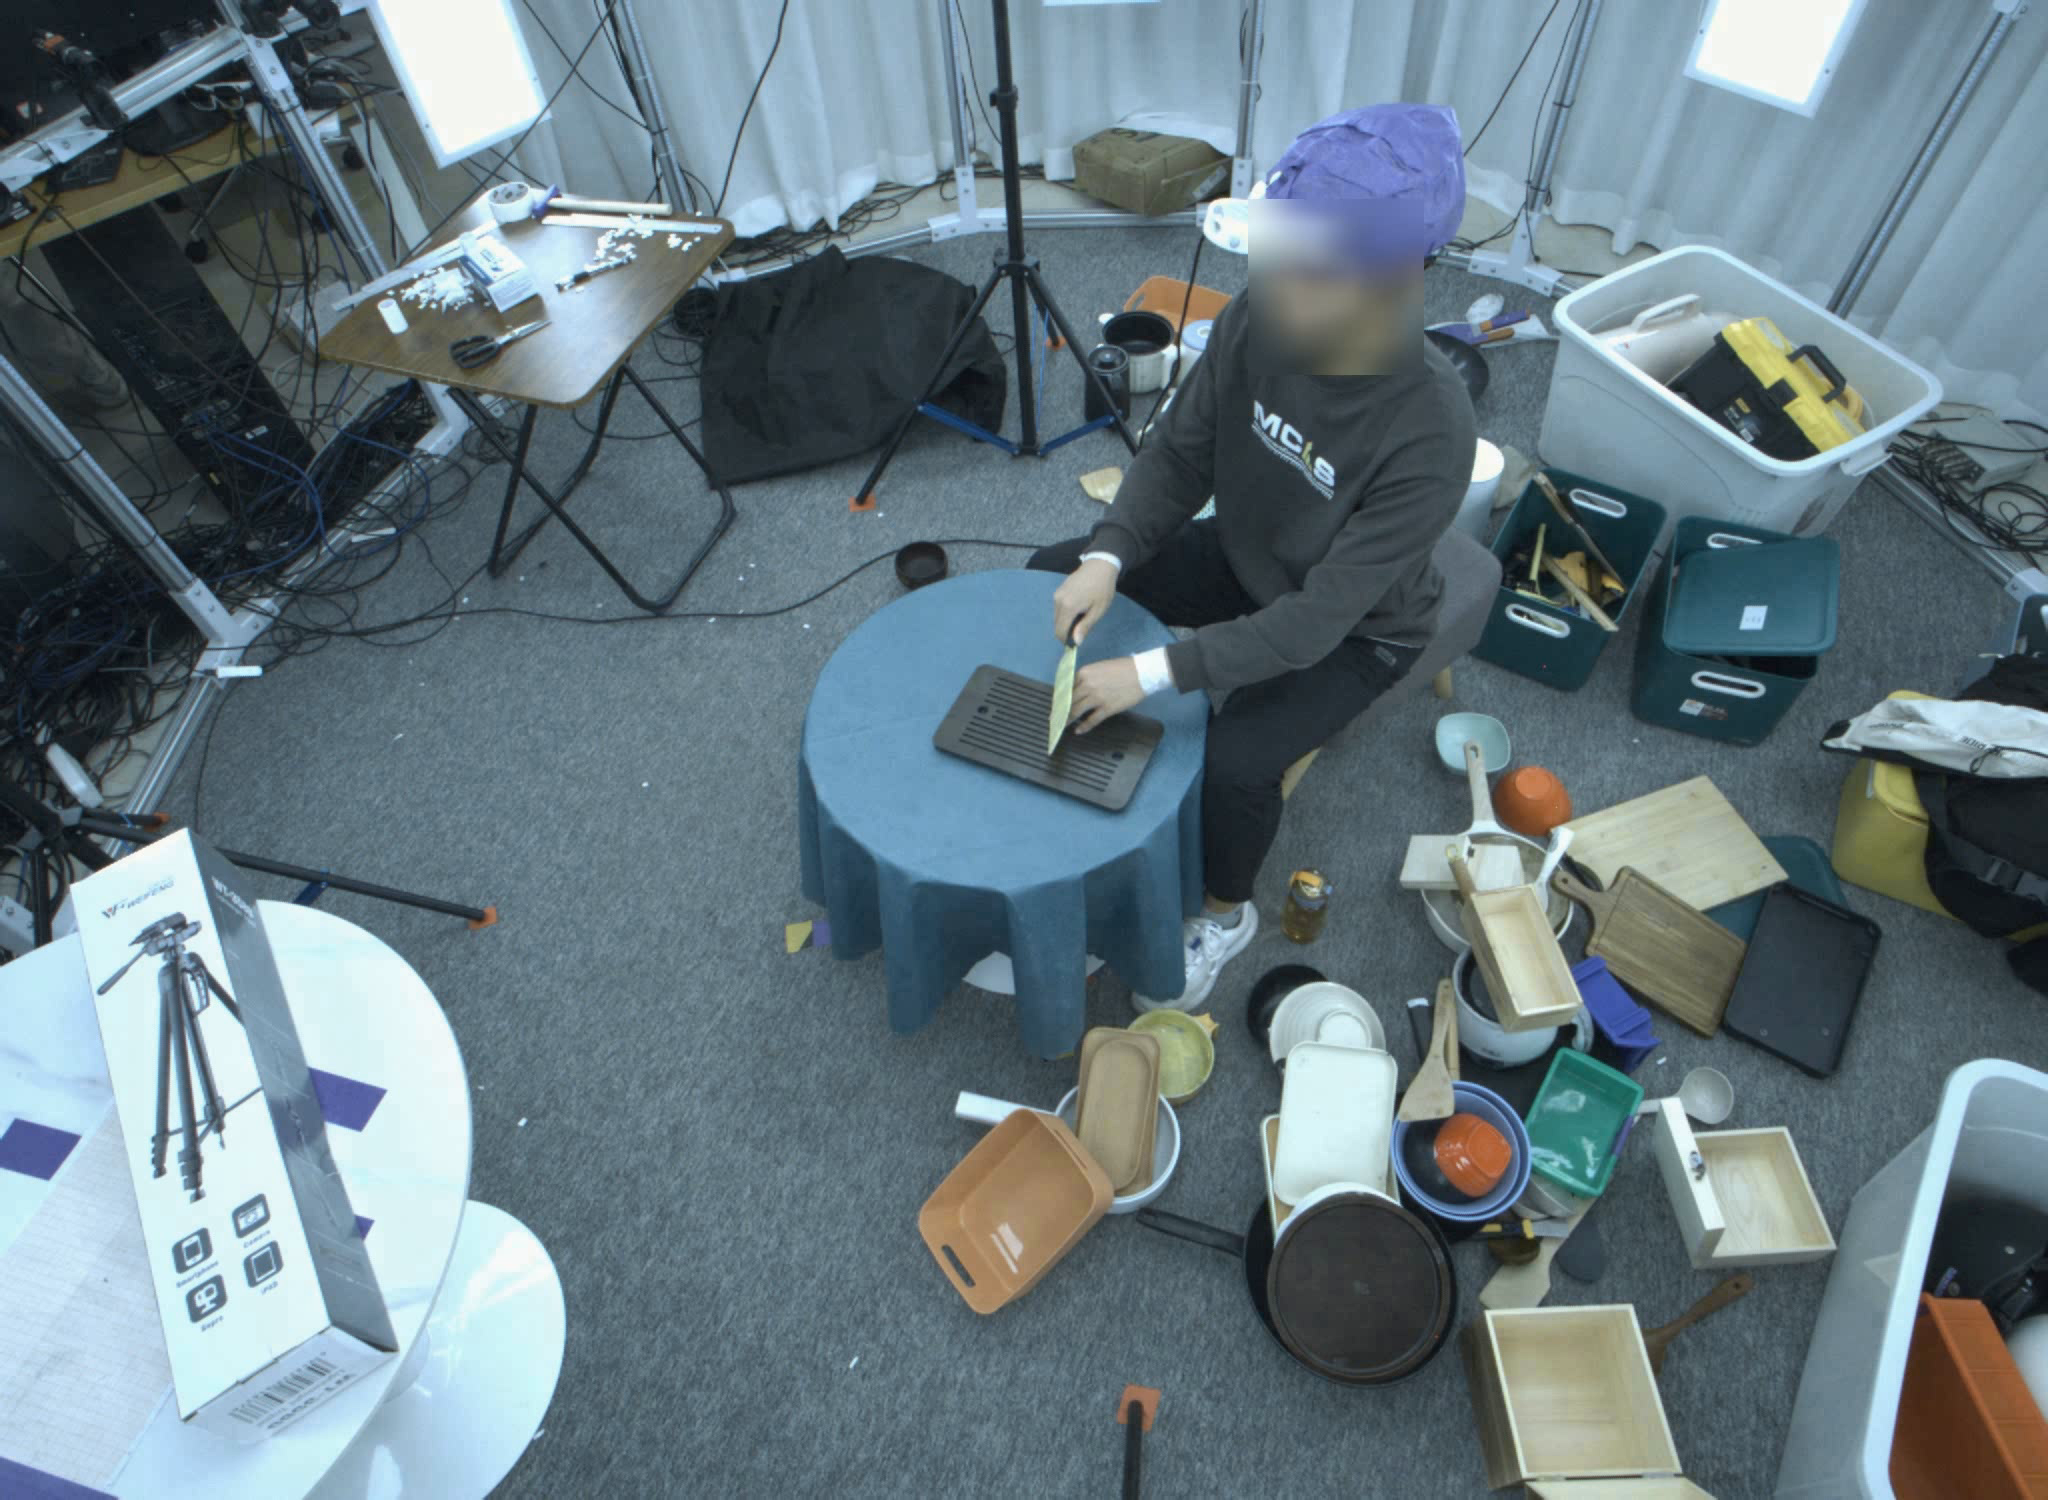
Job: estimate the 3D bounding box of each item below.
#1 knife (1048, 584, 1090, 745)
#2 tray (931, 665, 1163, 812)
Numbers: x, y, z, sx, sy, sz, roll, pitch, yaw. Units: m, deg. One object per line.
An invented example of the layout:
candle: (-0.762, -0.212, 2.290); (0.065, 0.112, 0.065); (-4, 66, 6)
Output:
knife: (0.063, -0.127, 1.800); (0.027, 0.080, 0.287); (22, 56, -16)
tray: (0.033, -0.019, 1.796); (0.302, 0.019, 0.170); (20, 57, 15)
